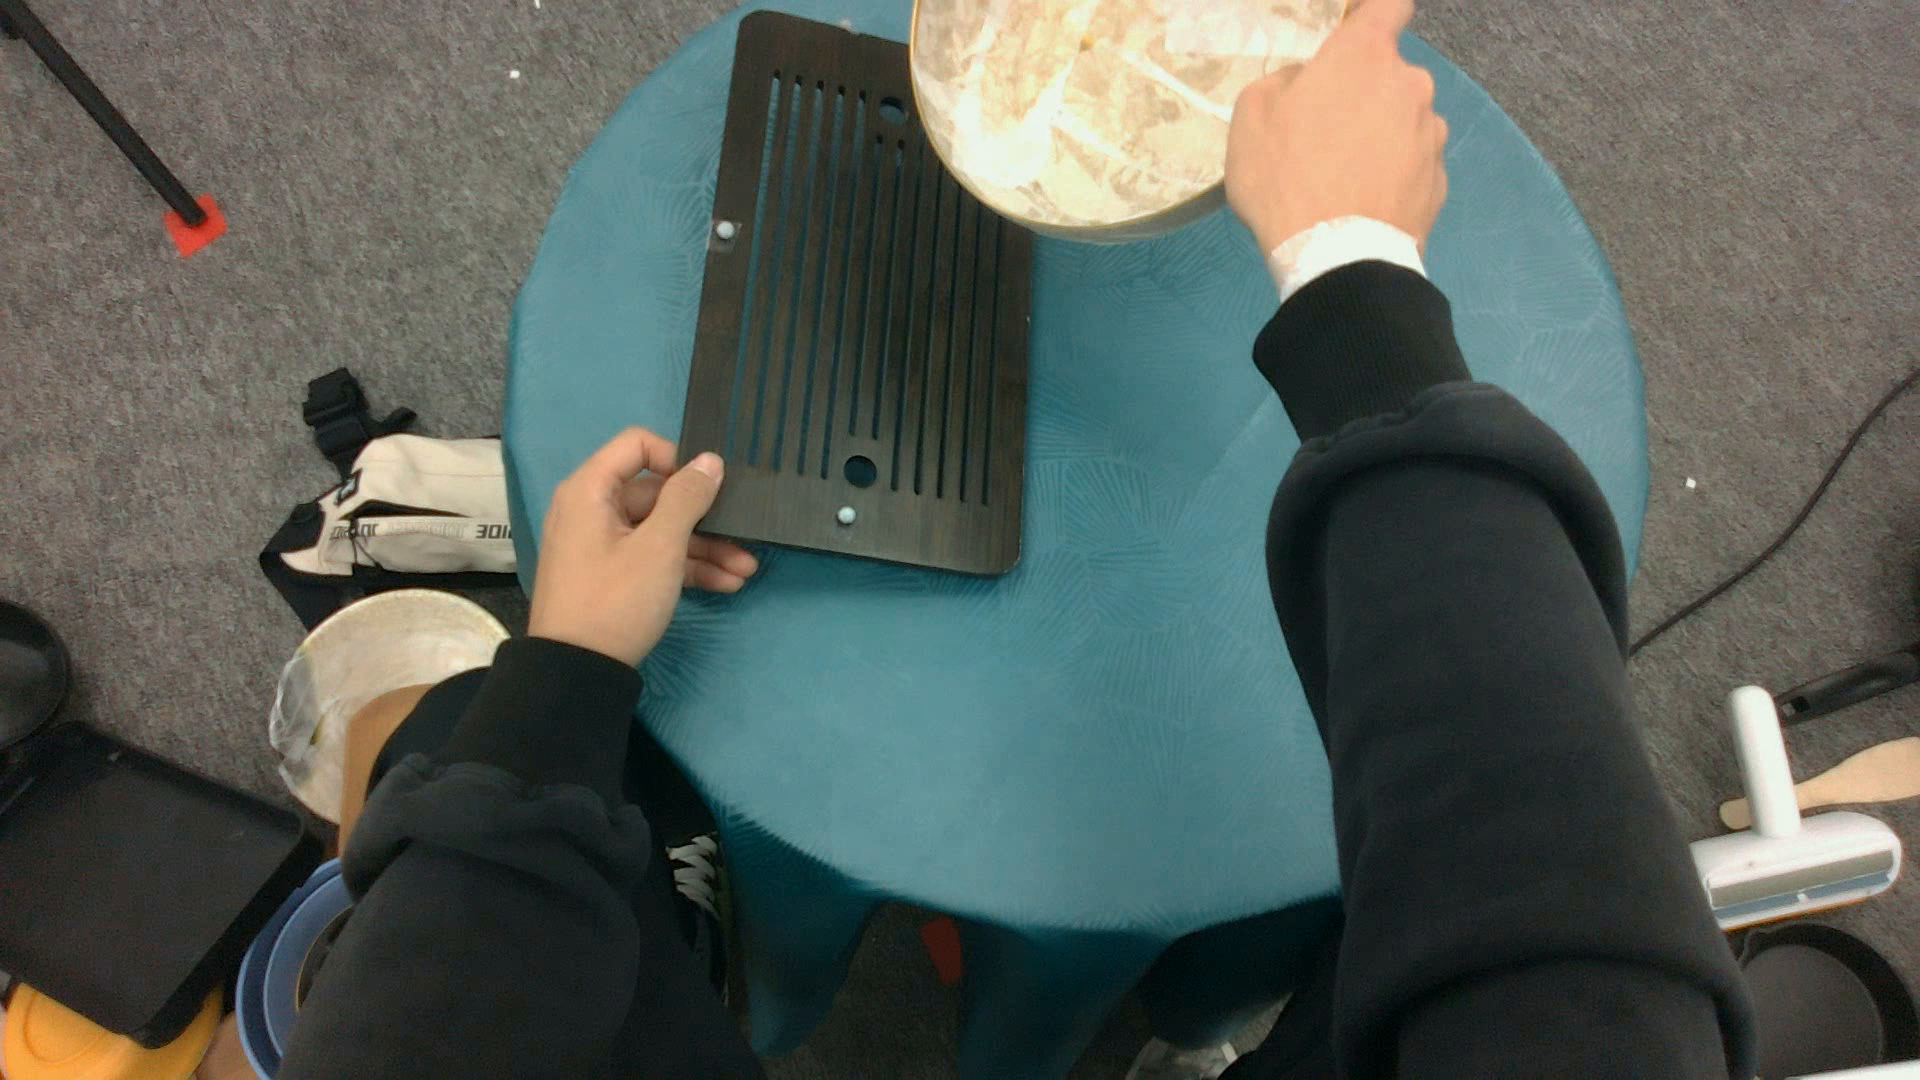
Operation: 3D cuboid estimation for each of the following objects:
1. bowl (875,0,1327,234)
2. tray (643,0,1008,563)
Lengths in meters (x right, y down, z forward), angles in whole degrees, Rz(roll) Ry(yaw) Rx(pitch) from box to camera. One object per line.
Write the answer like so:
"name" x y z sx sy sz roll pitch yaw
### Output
"bowl" 0.071 -0.230 0.630 0.214 0.094 0.215 -3 83 24
"tray" -0.060 -0.139 0.710 0.170 0.018 0.307 9 67 -14
